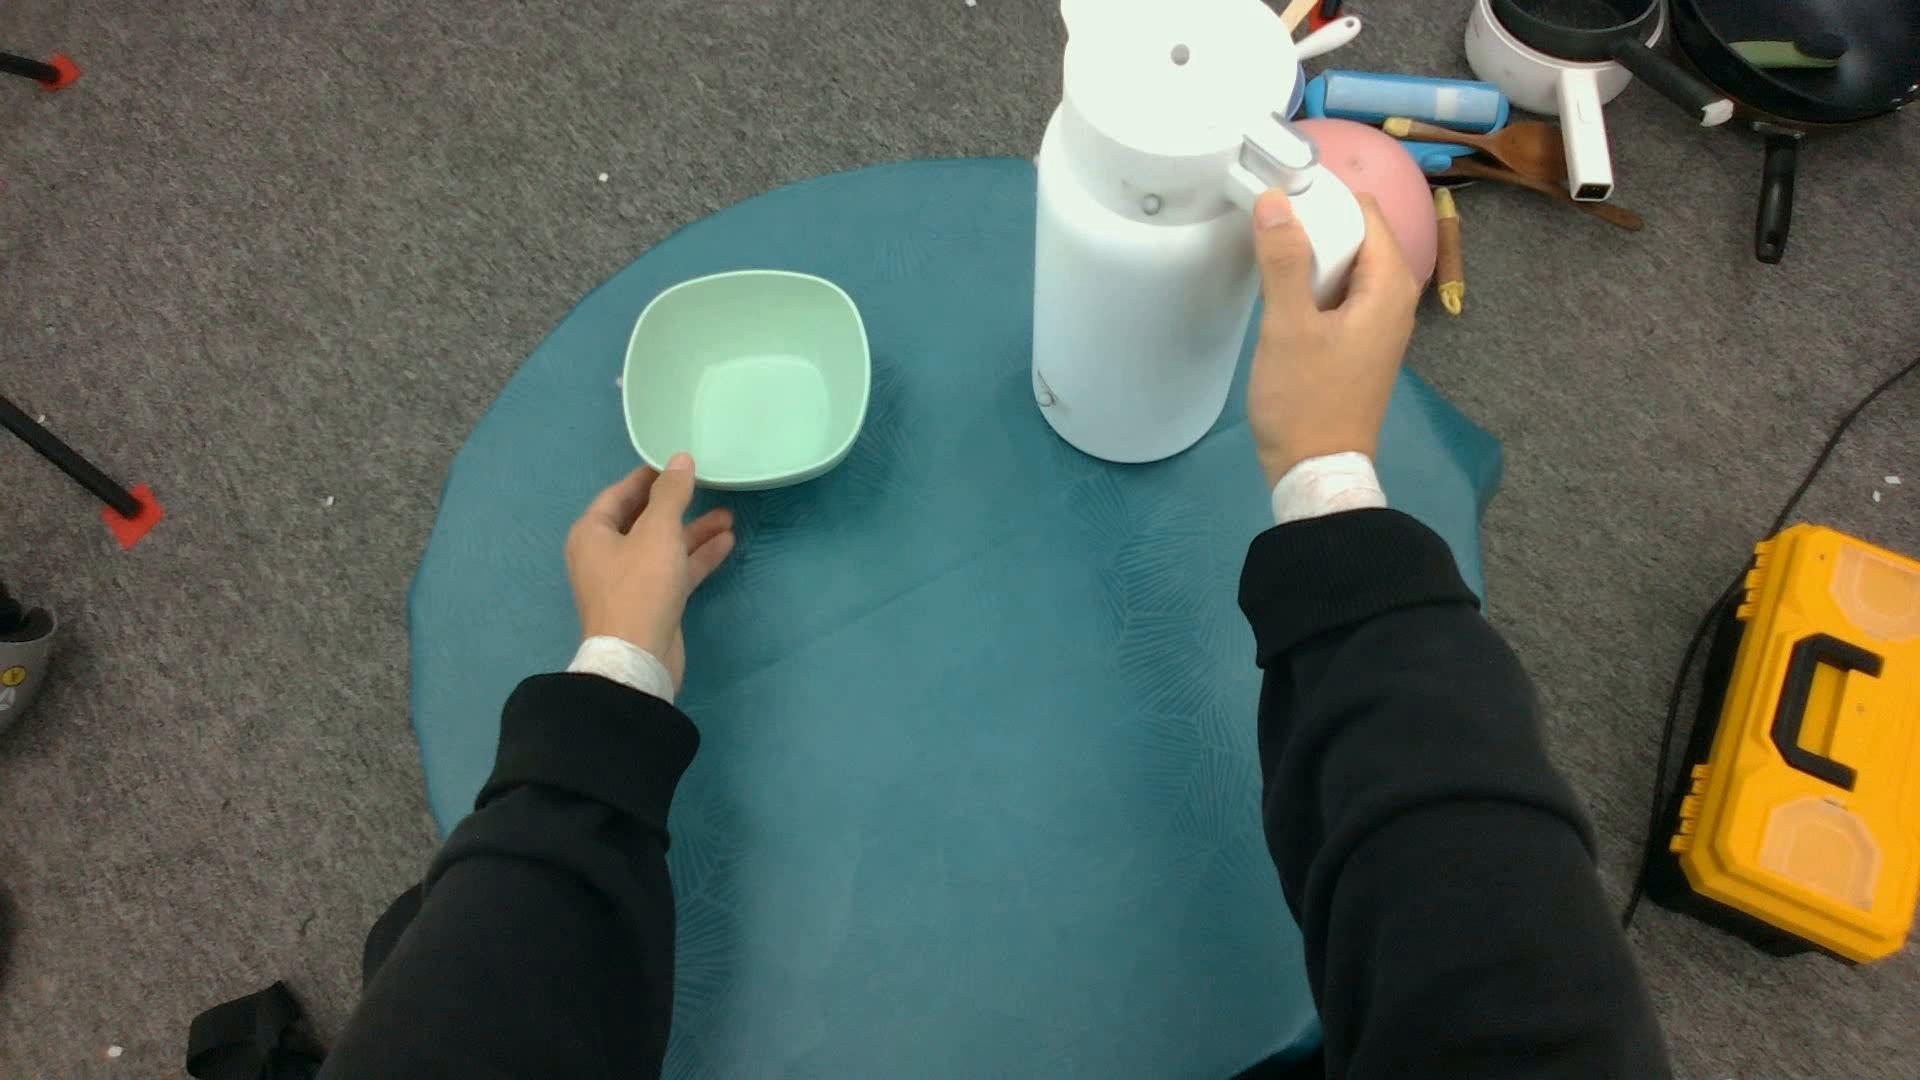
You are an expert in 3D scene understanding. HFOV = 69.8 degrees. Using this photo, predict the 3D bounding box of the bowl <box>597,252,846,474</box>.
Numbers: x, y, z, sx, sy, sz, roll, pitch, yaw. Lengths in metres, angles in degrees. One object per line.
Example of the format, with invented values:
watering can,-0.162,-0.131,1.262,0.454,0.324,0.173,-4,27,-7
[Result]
bowl,-0.133,-0.092,0.795,0.151,0.058,0.152,0,66,1

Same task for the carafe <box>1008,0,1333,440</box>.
carafe,0.096,-0.150,0.702,0.124,0.268,0.173,-41,72,-17
